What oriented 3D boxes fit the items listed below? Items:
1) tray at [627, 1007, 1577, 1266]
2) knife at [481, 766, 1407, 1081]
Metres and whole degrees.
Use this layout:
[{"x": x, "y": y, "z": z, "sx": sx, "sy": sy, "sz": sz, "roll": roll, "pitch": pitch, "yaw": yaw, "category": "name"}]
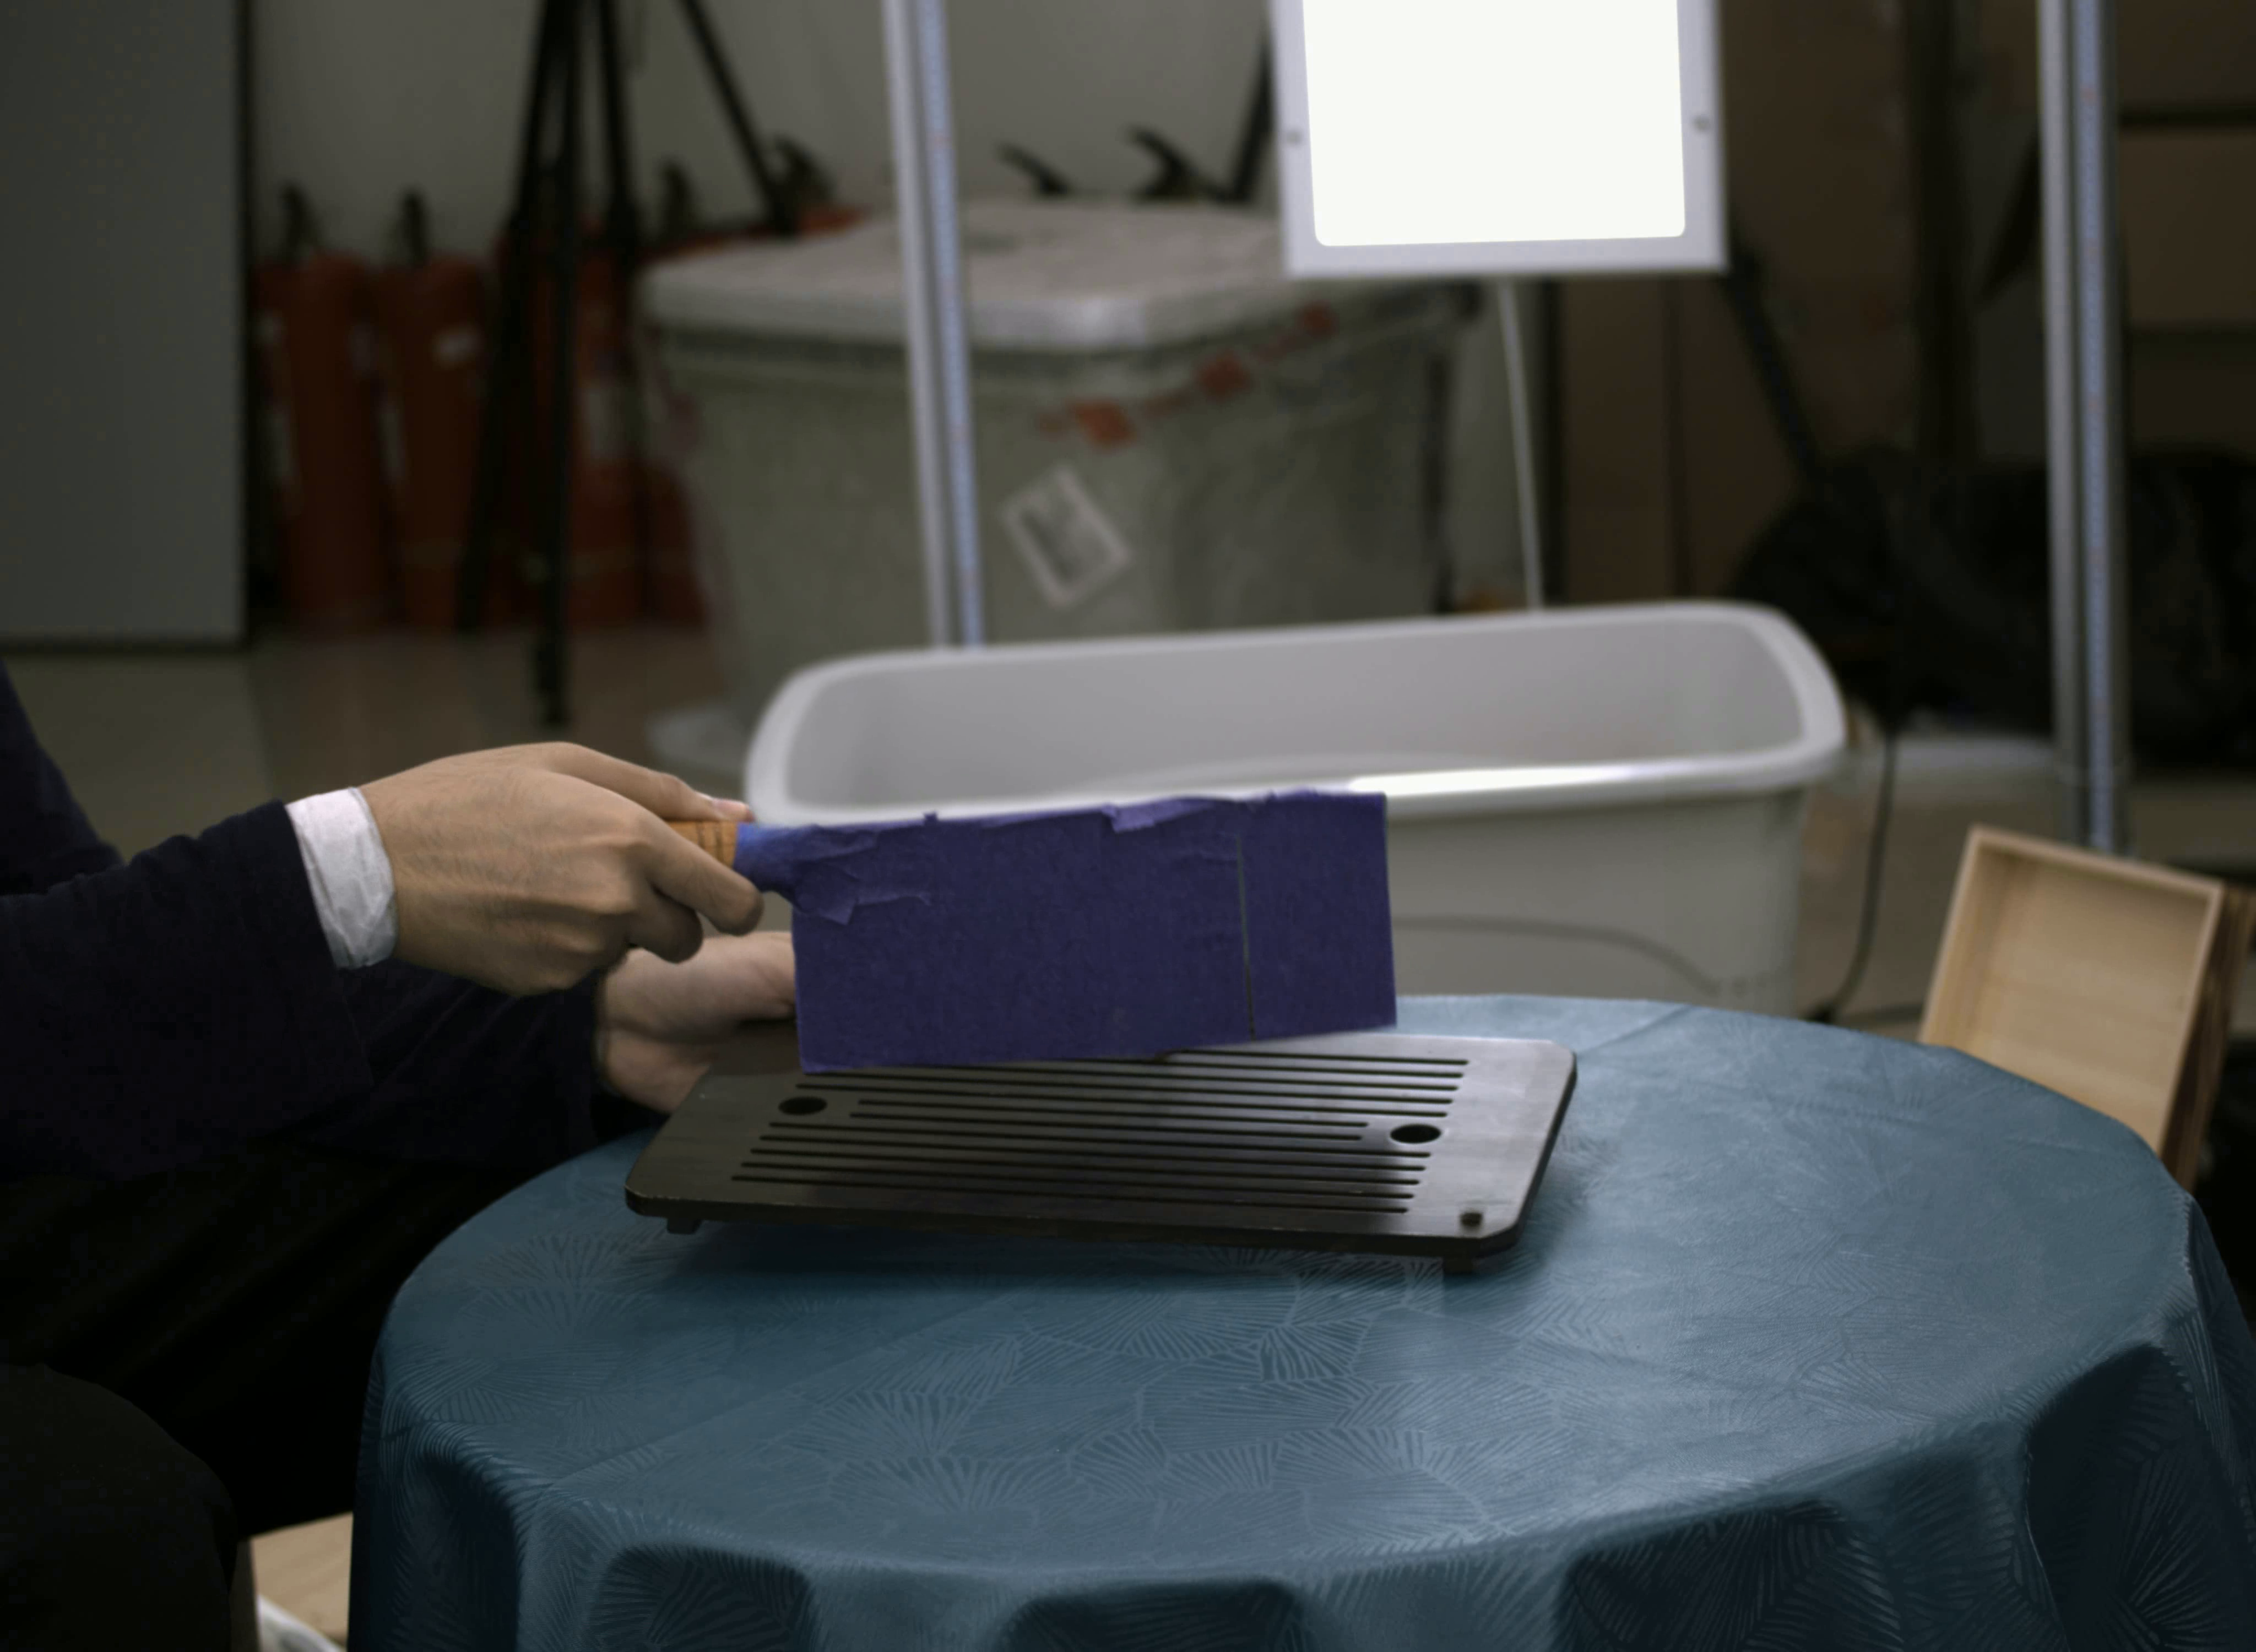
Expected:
[{"x": -0.006, "y": 0.106, "z": 1.890, "sx": 0.308, "sy": 0.019, "sz": 0.168, "roll": 1, "pitch": 21, "yaw": 14, "category": "tray"}, {"x": -0.061, "y": 0.040, "z": 1.876, "sx": 0.314, "sy": 0.104, "sz": 0.032, "roll": -4, "pitch": 18, "yaw": 0, "category": "knife"}]
